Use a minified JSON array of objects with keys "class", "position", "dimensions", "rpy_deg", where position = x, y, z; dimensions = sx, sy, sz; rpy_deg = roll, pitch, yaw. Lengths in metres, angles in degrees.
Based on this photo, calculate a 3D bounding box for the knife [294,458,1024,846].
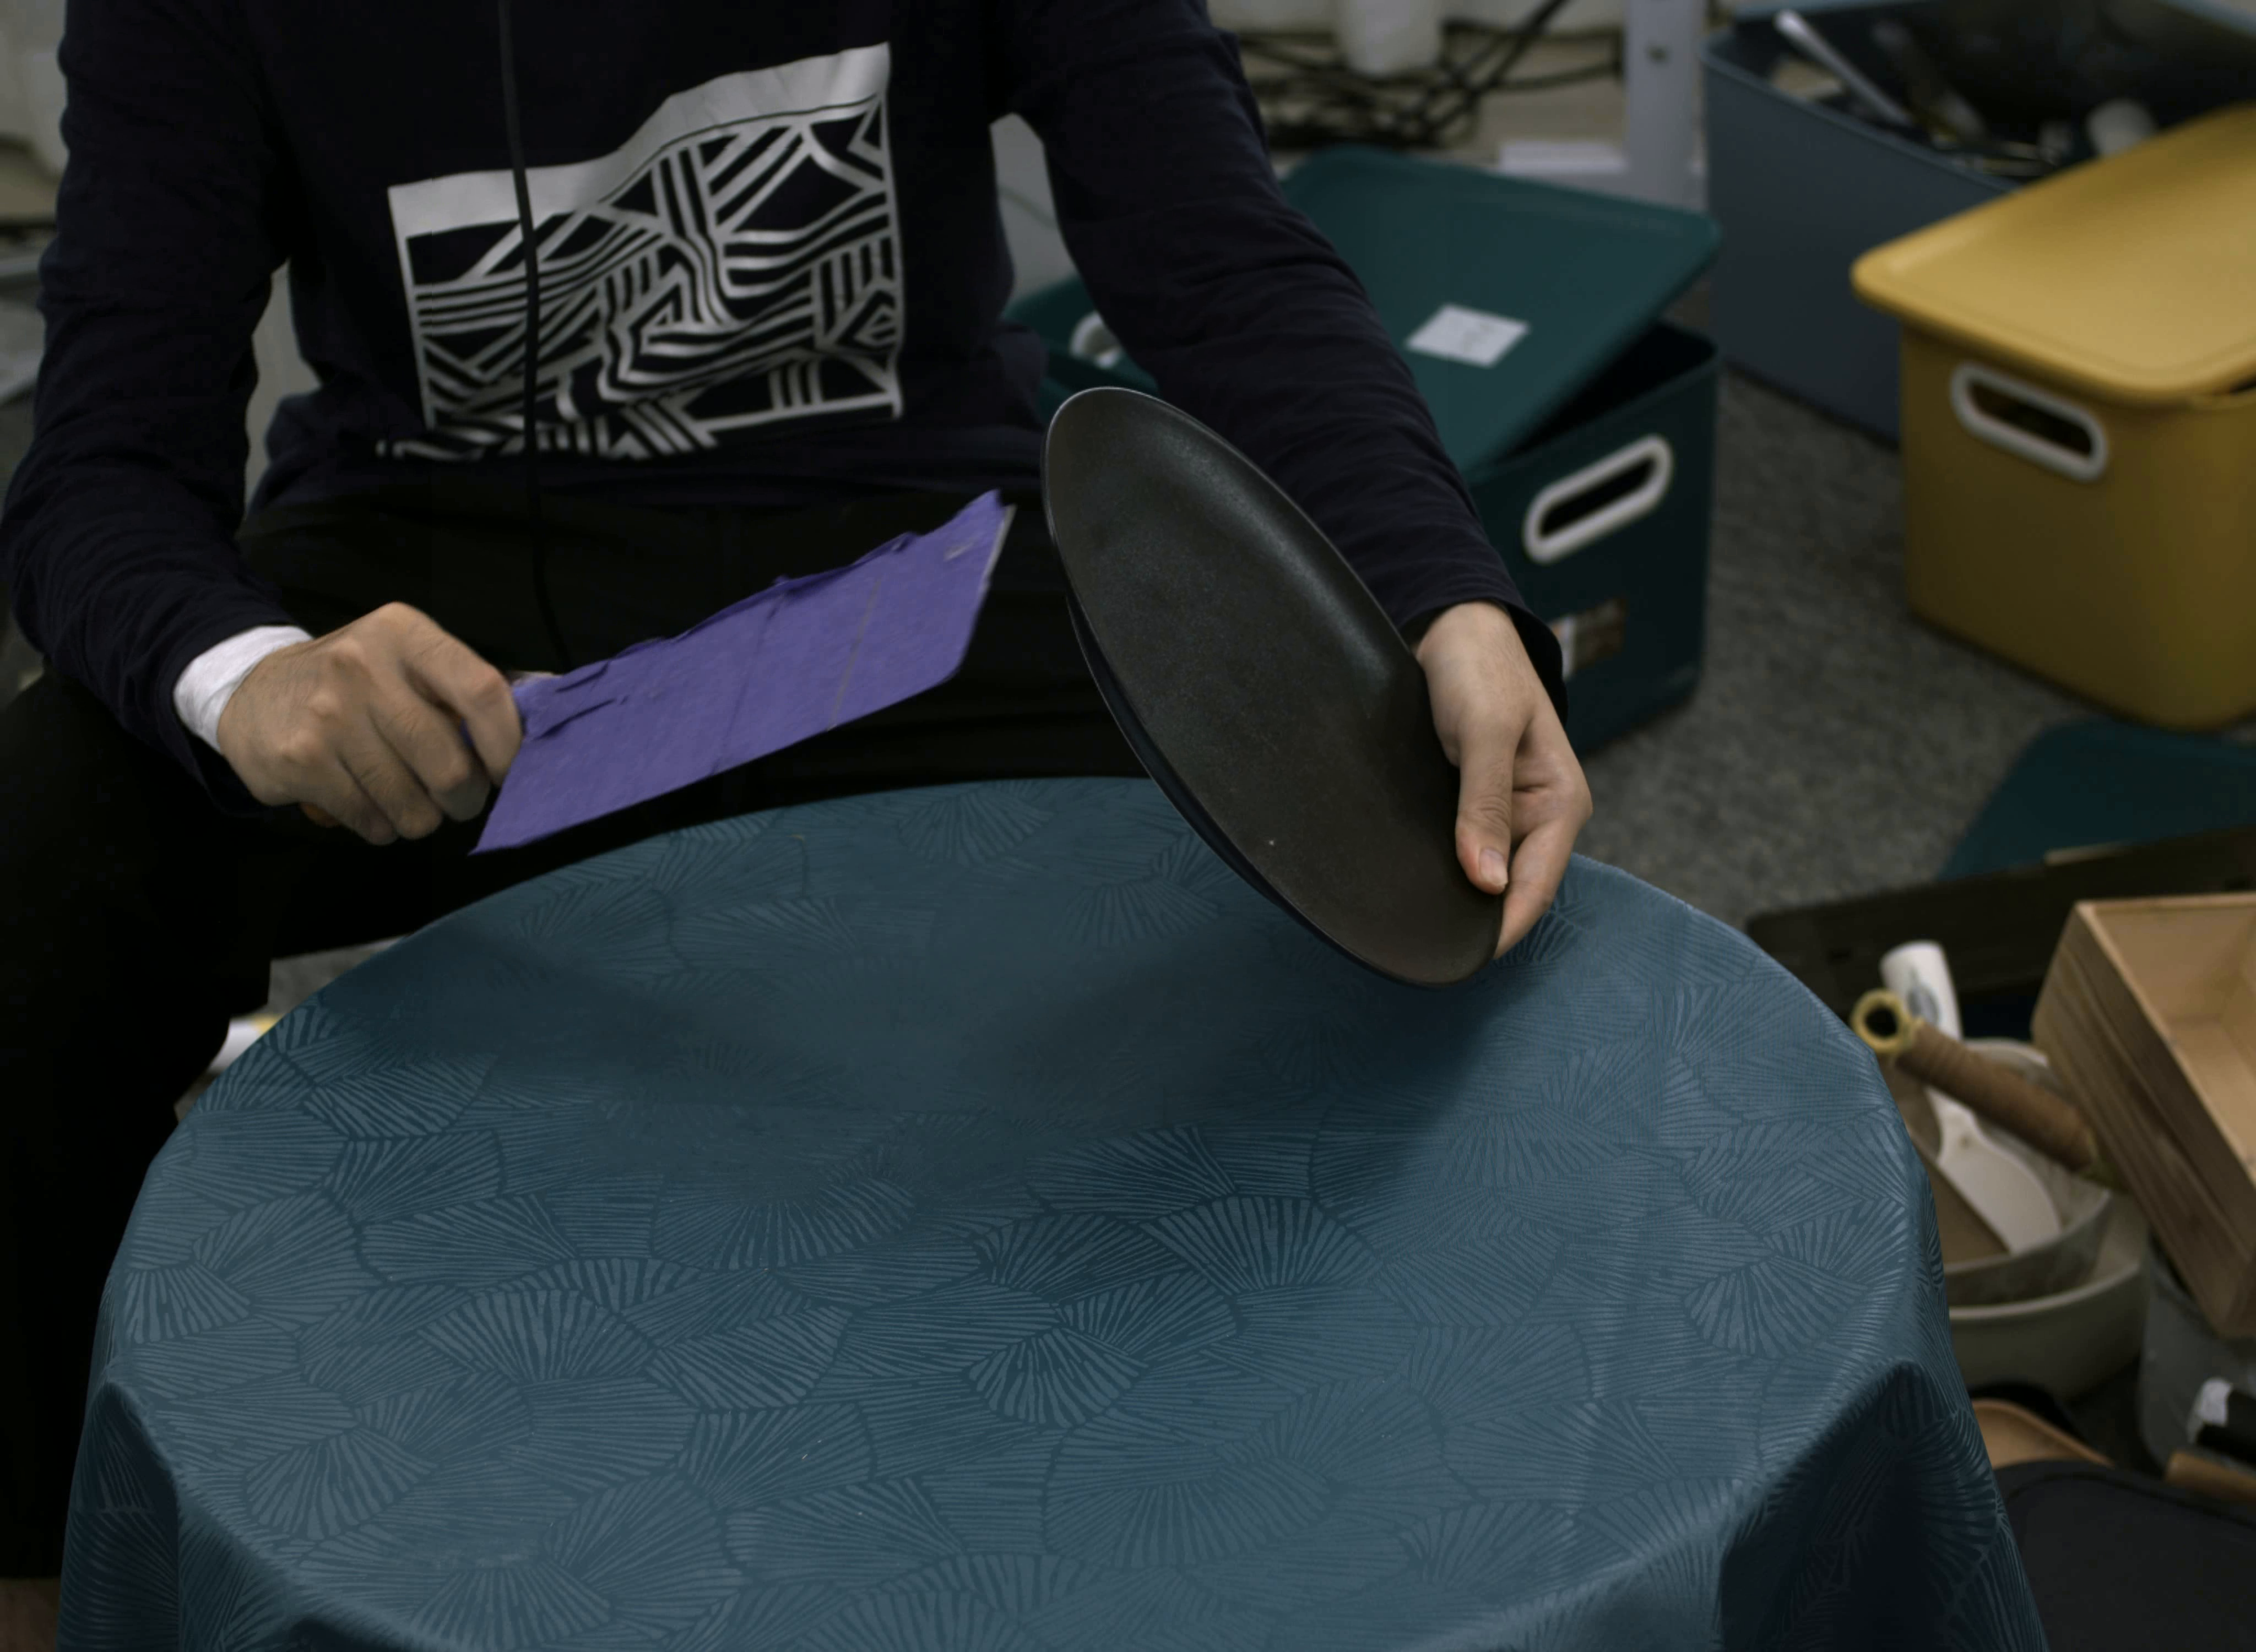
[{"class":"knife","position":[-0.169,-0.040,1.897],"dimensions":[0.311,0.032,0.106],"rpy_deg":[-23,31,30]}]

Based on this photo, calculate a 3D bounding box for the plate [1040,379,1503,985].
[{"class":"plate","position":[0.045,-0.046,1.932],"dimensions":[0.023,0.243,0.248],"rpy_deg":[-35,17,23]}]
